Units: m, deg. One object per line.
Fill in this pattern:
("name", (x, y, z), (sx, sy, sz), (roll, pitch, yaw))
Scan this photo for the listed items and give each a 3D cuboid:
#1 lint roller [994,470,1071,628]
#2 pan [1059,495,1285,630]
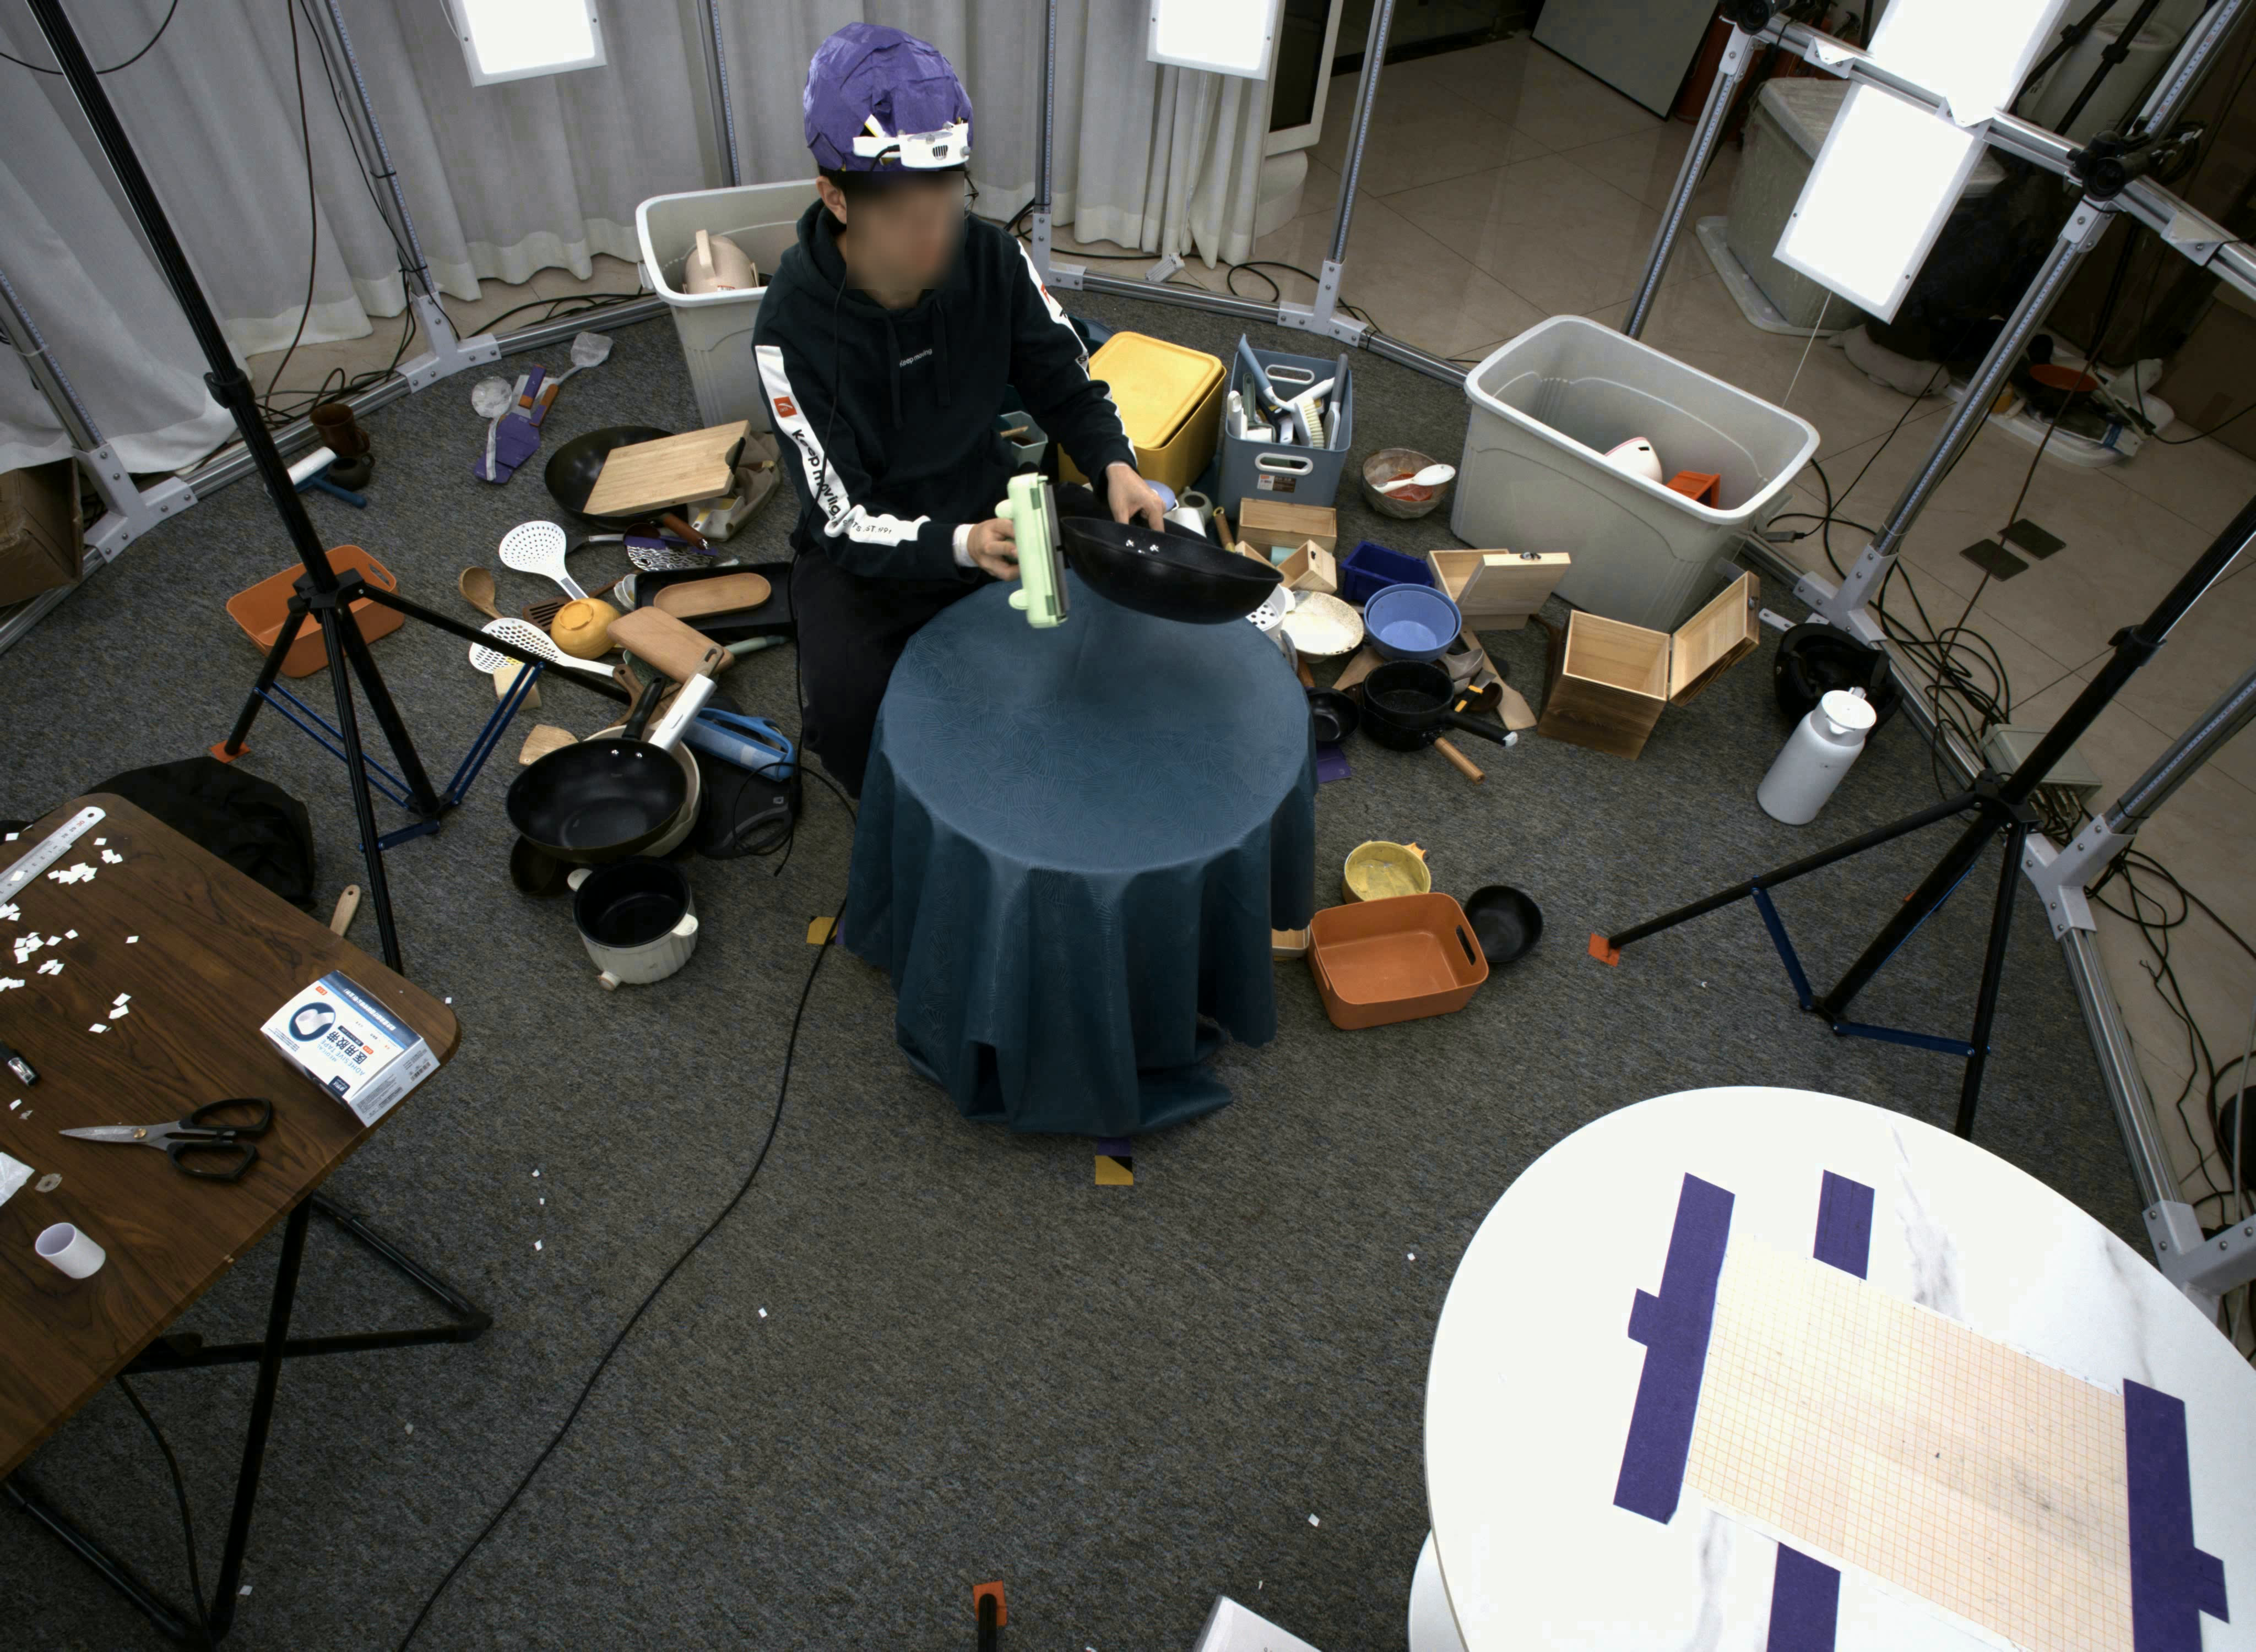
("lint roller", (-0.150, -0.364, 1.708), (0.082, 0.196, 0.185), (-17, 17, -30))
("pan", (0.033, -0.370, 1.788), (0.308, 0.110, 0.485), (10, 19, -18))
